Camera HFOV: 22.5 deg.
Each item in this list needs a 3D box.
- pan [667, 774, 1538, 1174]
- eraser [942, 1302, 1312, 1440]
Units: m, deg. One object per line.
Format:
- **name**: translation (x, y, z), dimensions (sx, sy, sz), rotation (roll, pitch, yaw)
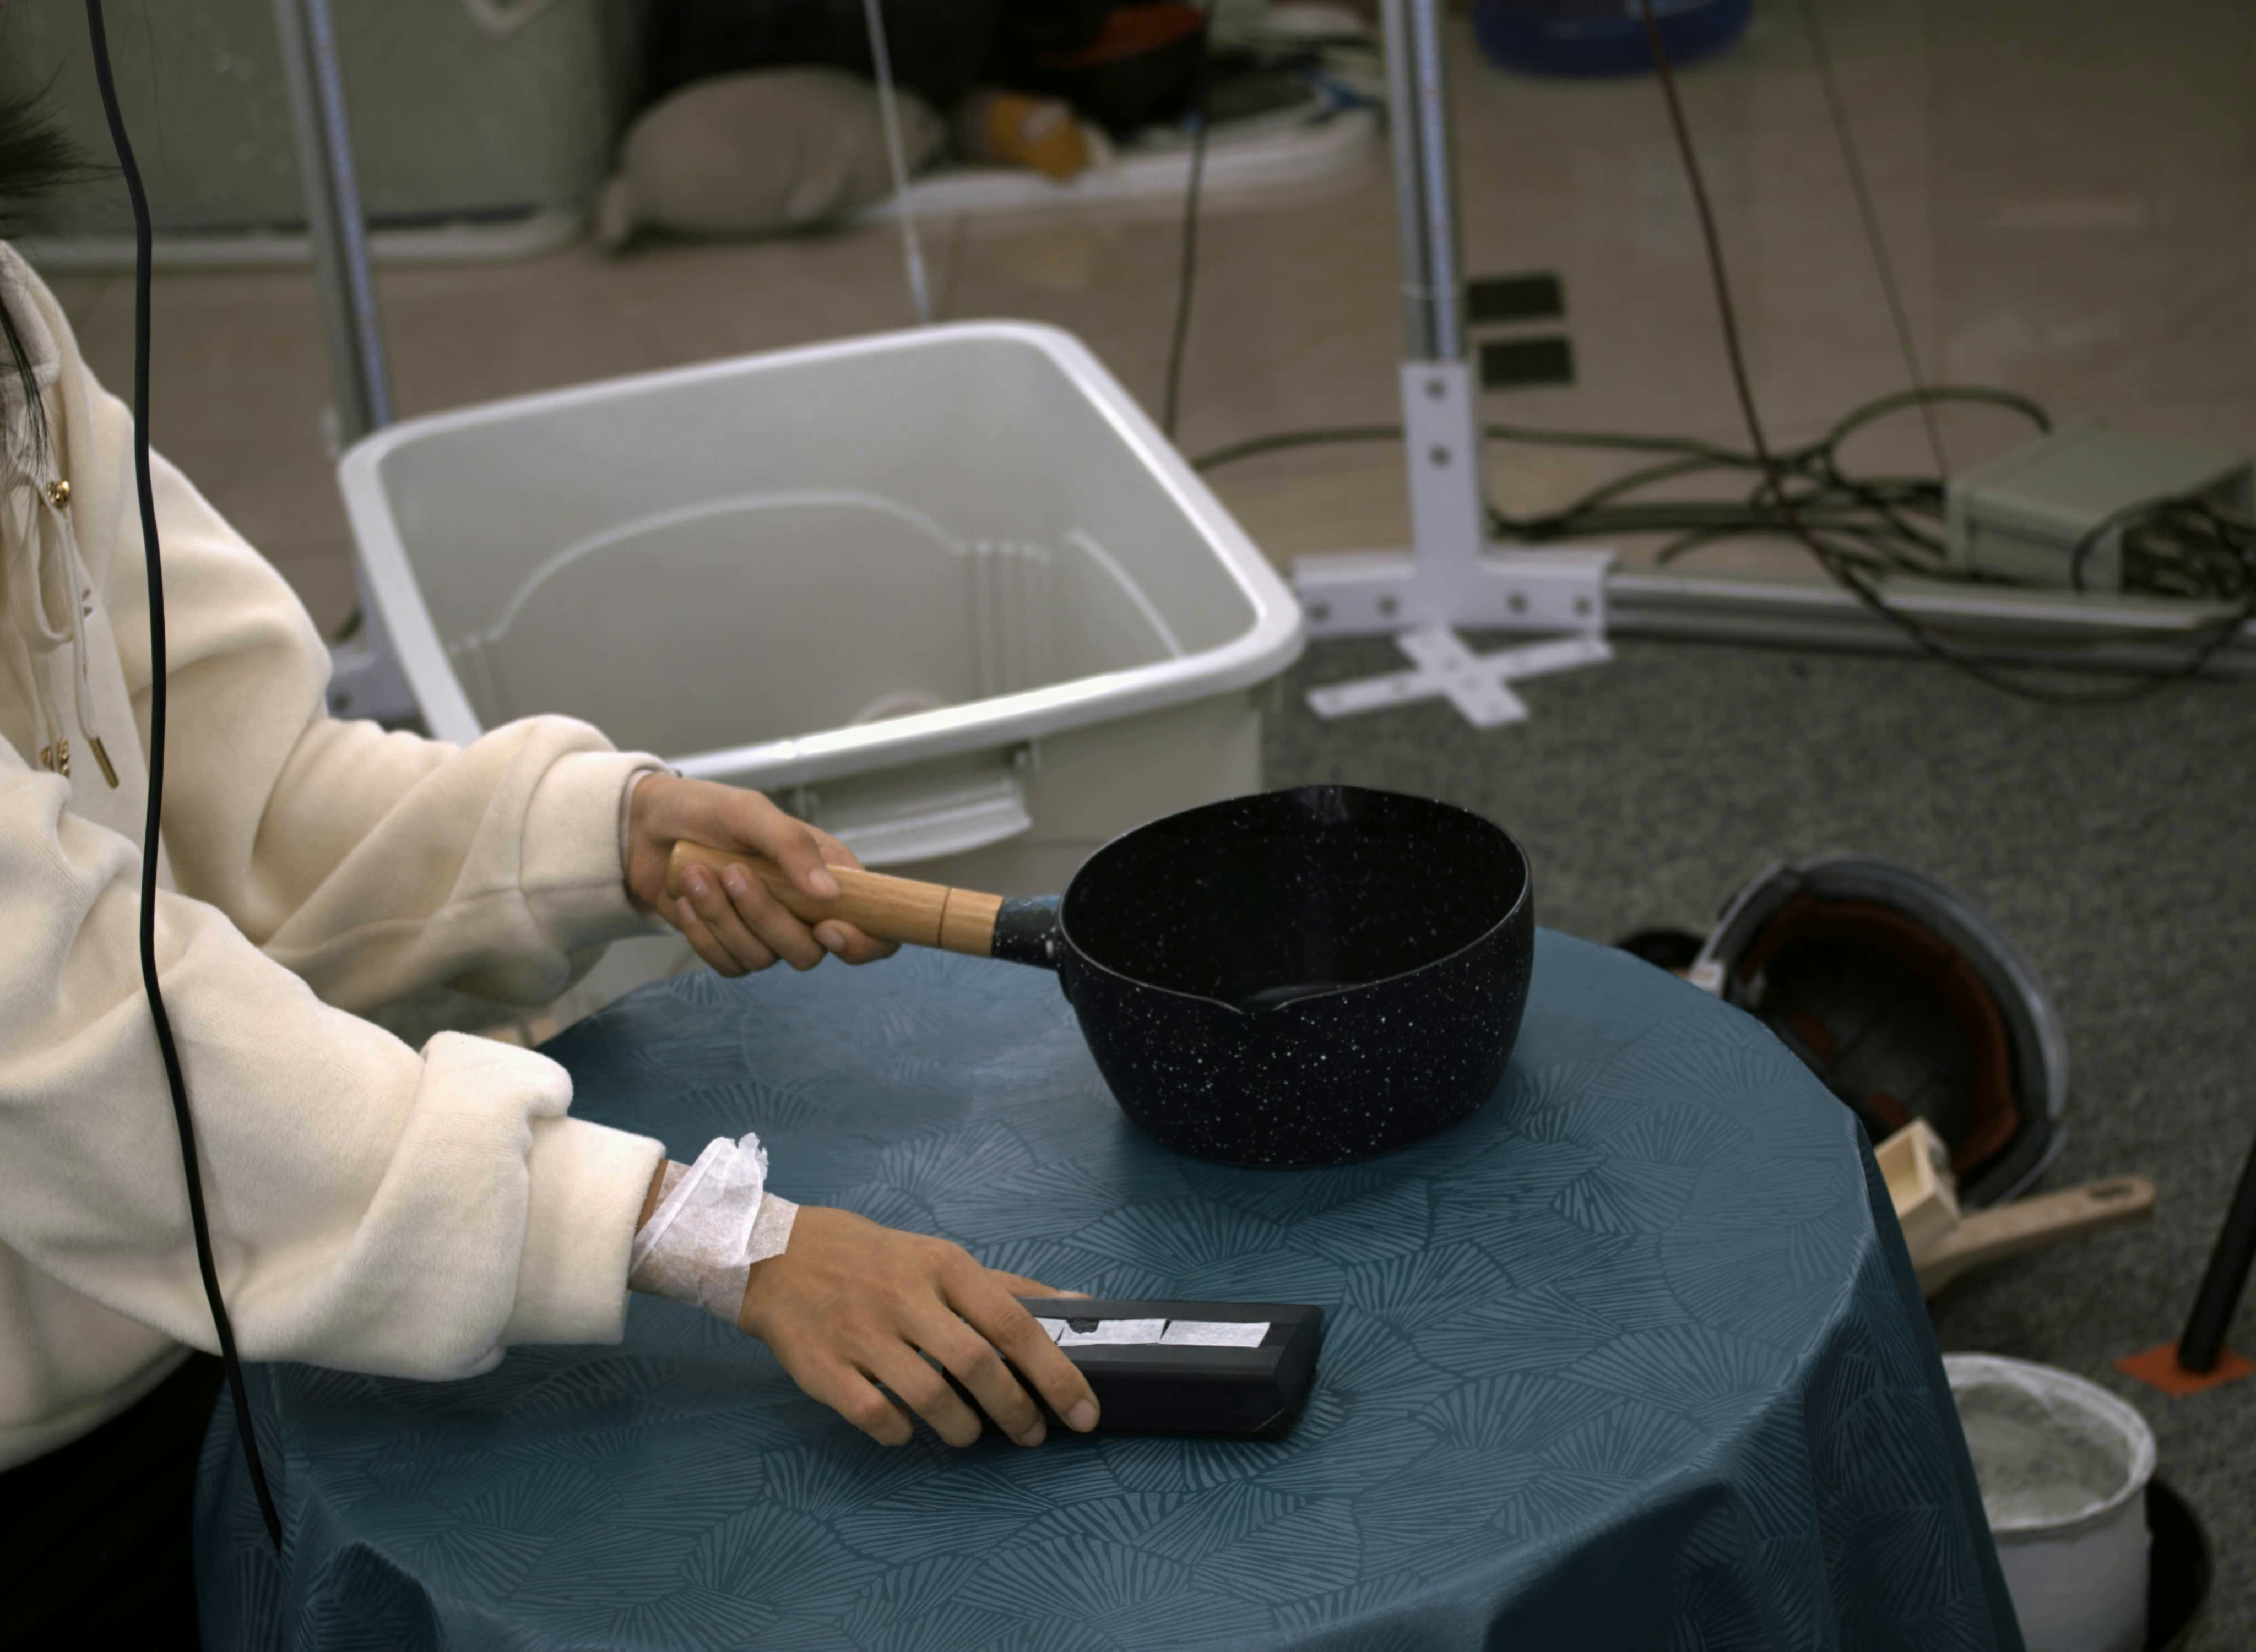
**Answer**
- **pan**: translation (-0.011, 0.053, 2.205), dimensions (0.342, 0.110, 0.204), rotation (0, 27, 10)
- **eraser**: translation (0.001, 0.192, 2.003), dimensions (0.125, 0.031, 0.053), rotation (0, 26, 16)
